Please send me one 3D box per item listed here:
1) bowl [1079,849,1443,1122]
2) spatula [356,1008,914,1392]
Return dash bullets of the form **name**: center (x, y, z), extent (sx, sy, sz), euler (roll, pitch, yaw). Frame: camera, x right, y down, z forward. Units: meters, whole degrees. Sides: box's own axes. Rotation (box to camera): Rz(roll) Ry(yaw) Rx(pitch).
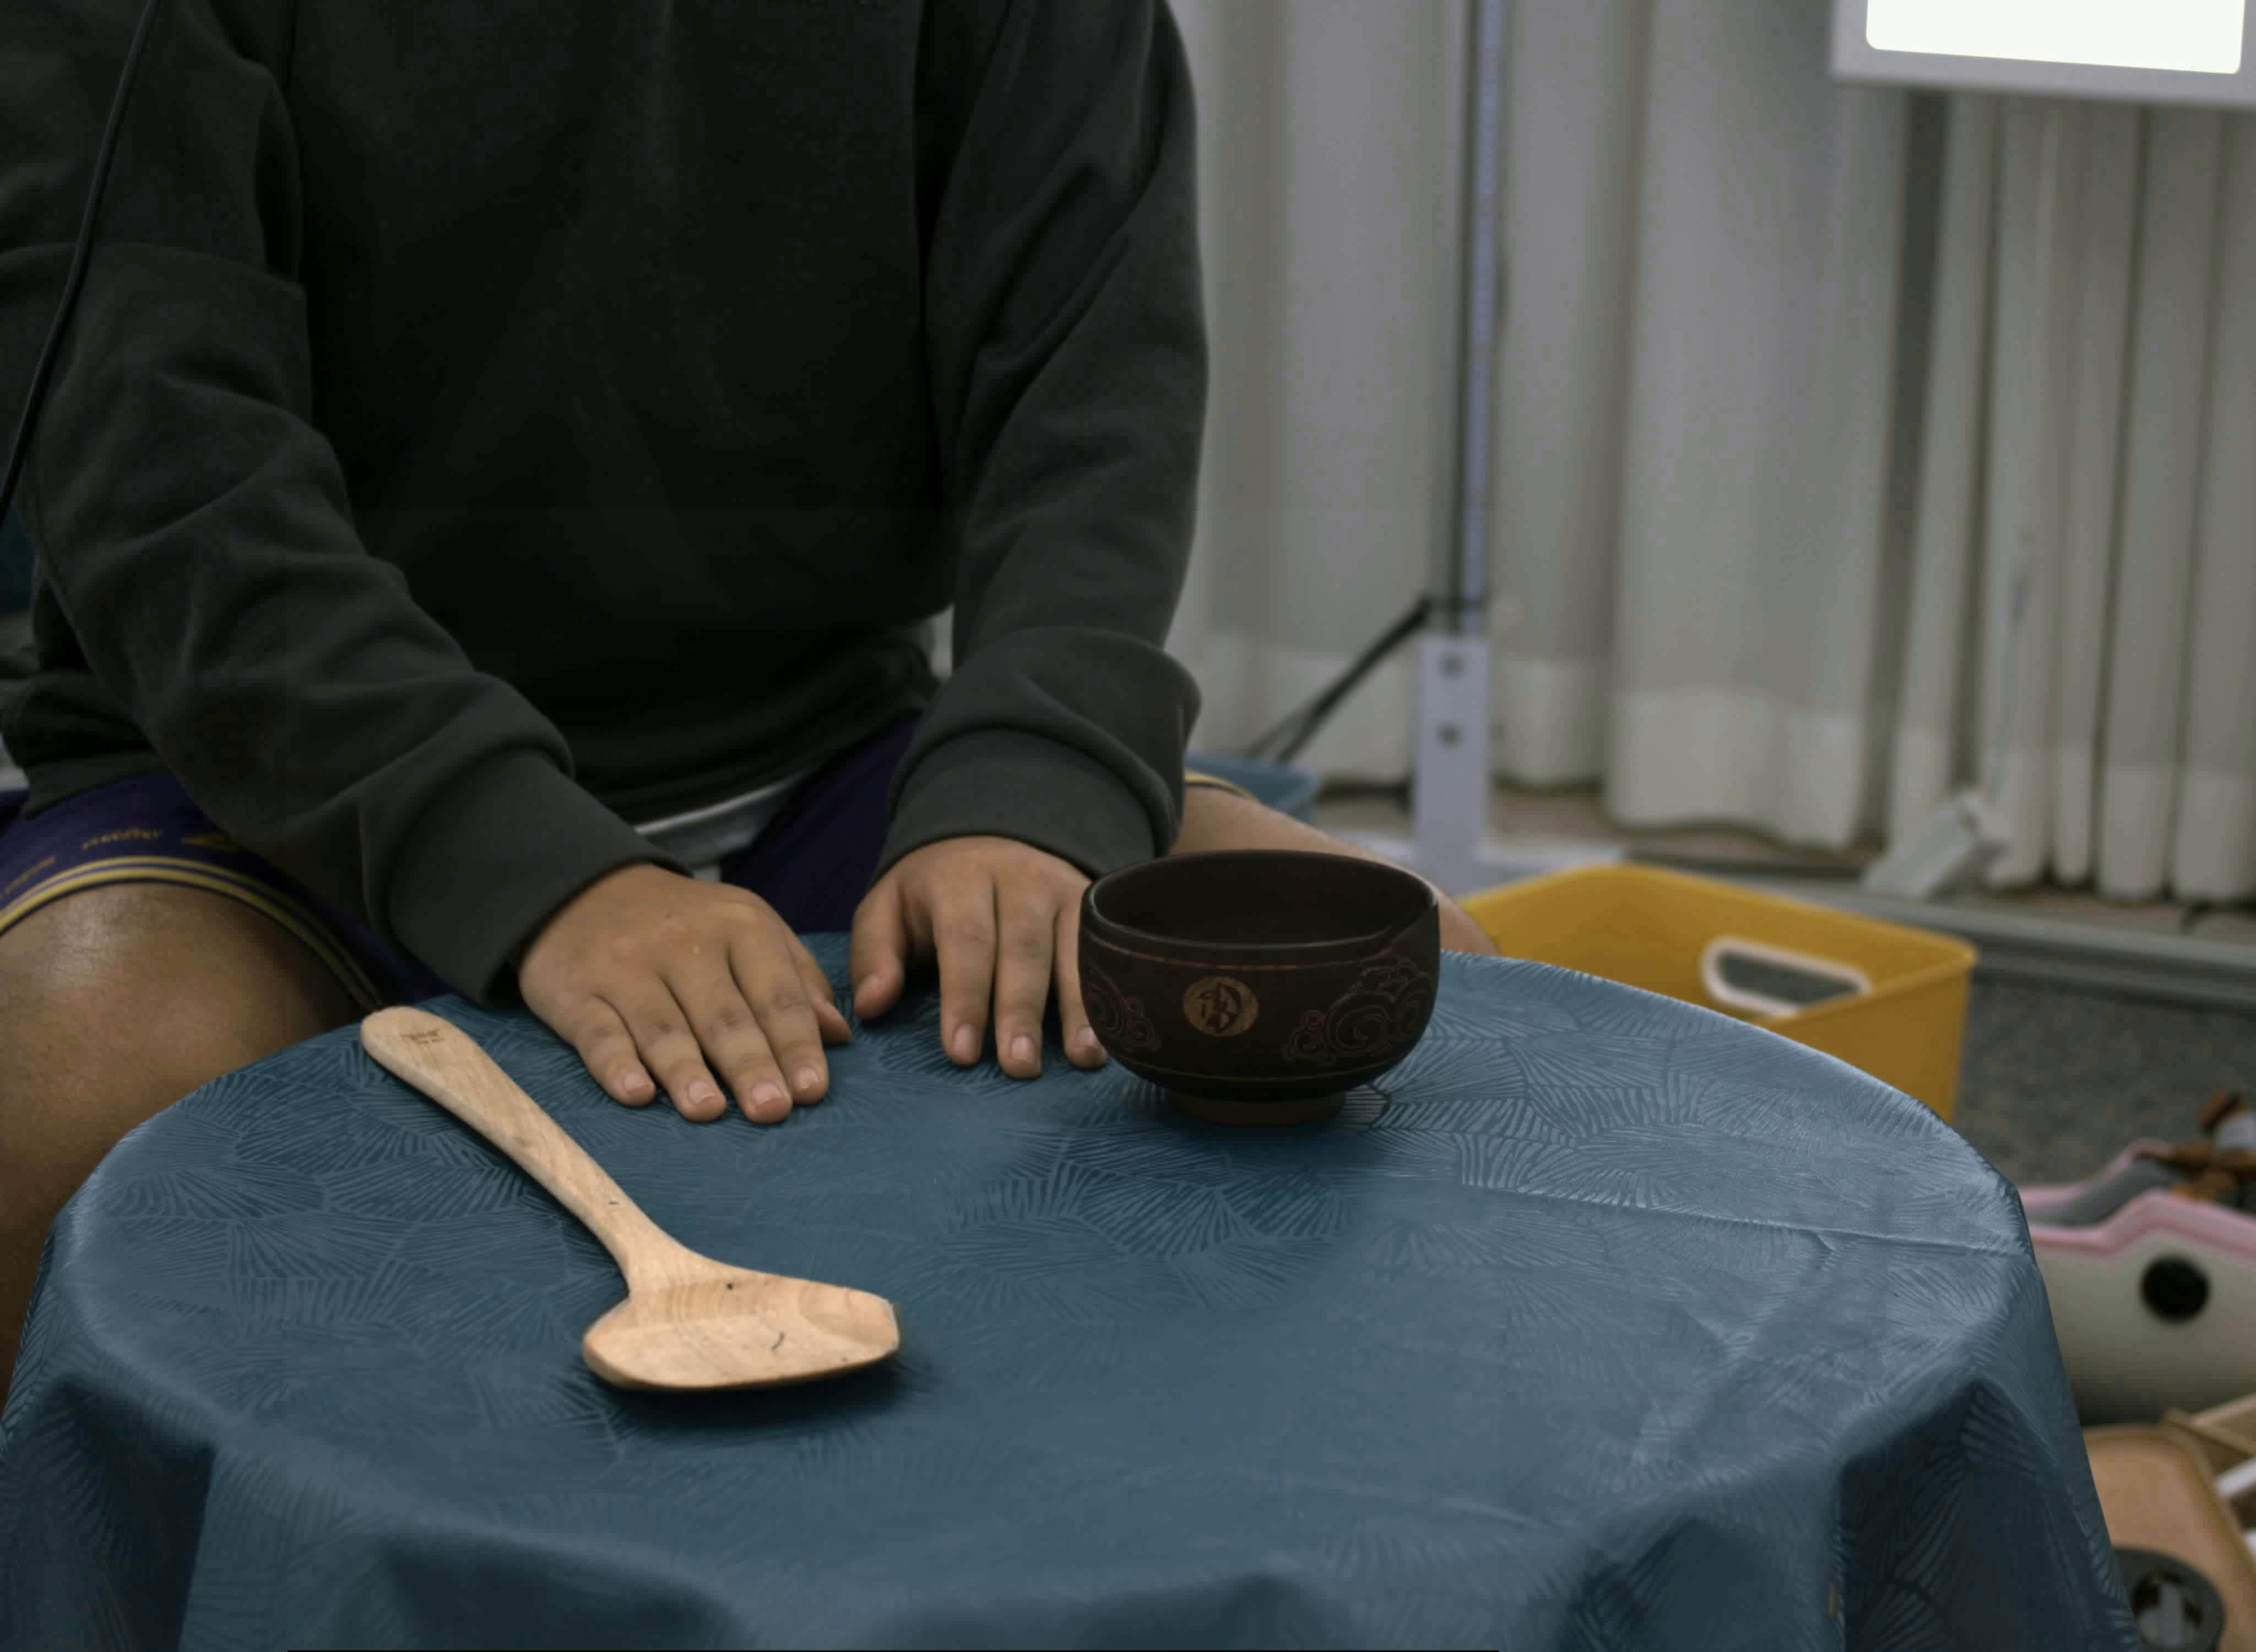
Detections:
- **bowl**: center (0.043, 0.055, 1.699), extent (0.117, 0.070, 0.117), euler (0, 14, 1)
- **spatula**: center (-0.174, 0.108, 1.598), extent (0.096, 0.018, 0.386), euler (-5, 16, -25)
